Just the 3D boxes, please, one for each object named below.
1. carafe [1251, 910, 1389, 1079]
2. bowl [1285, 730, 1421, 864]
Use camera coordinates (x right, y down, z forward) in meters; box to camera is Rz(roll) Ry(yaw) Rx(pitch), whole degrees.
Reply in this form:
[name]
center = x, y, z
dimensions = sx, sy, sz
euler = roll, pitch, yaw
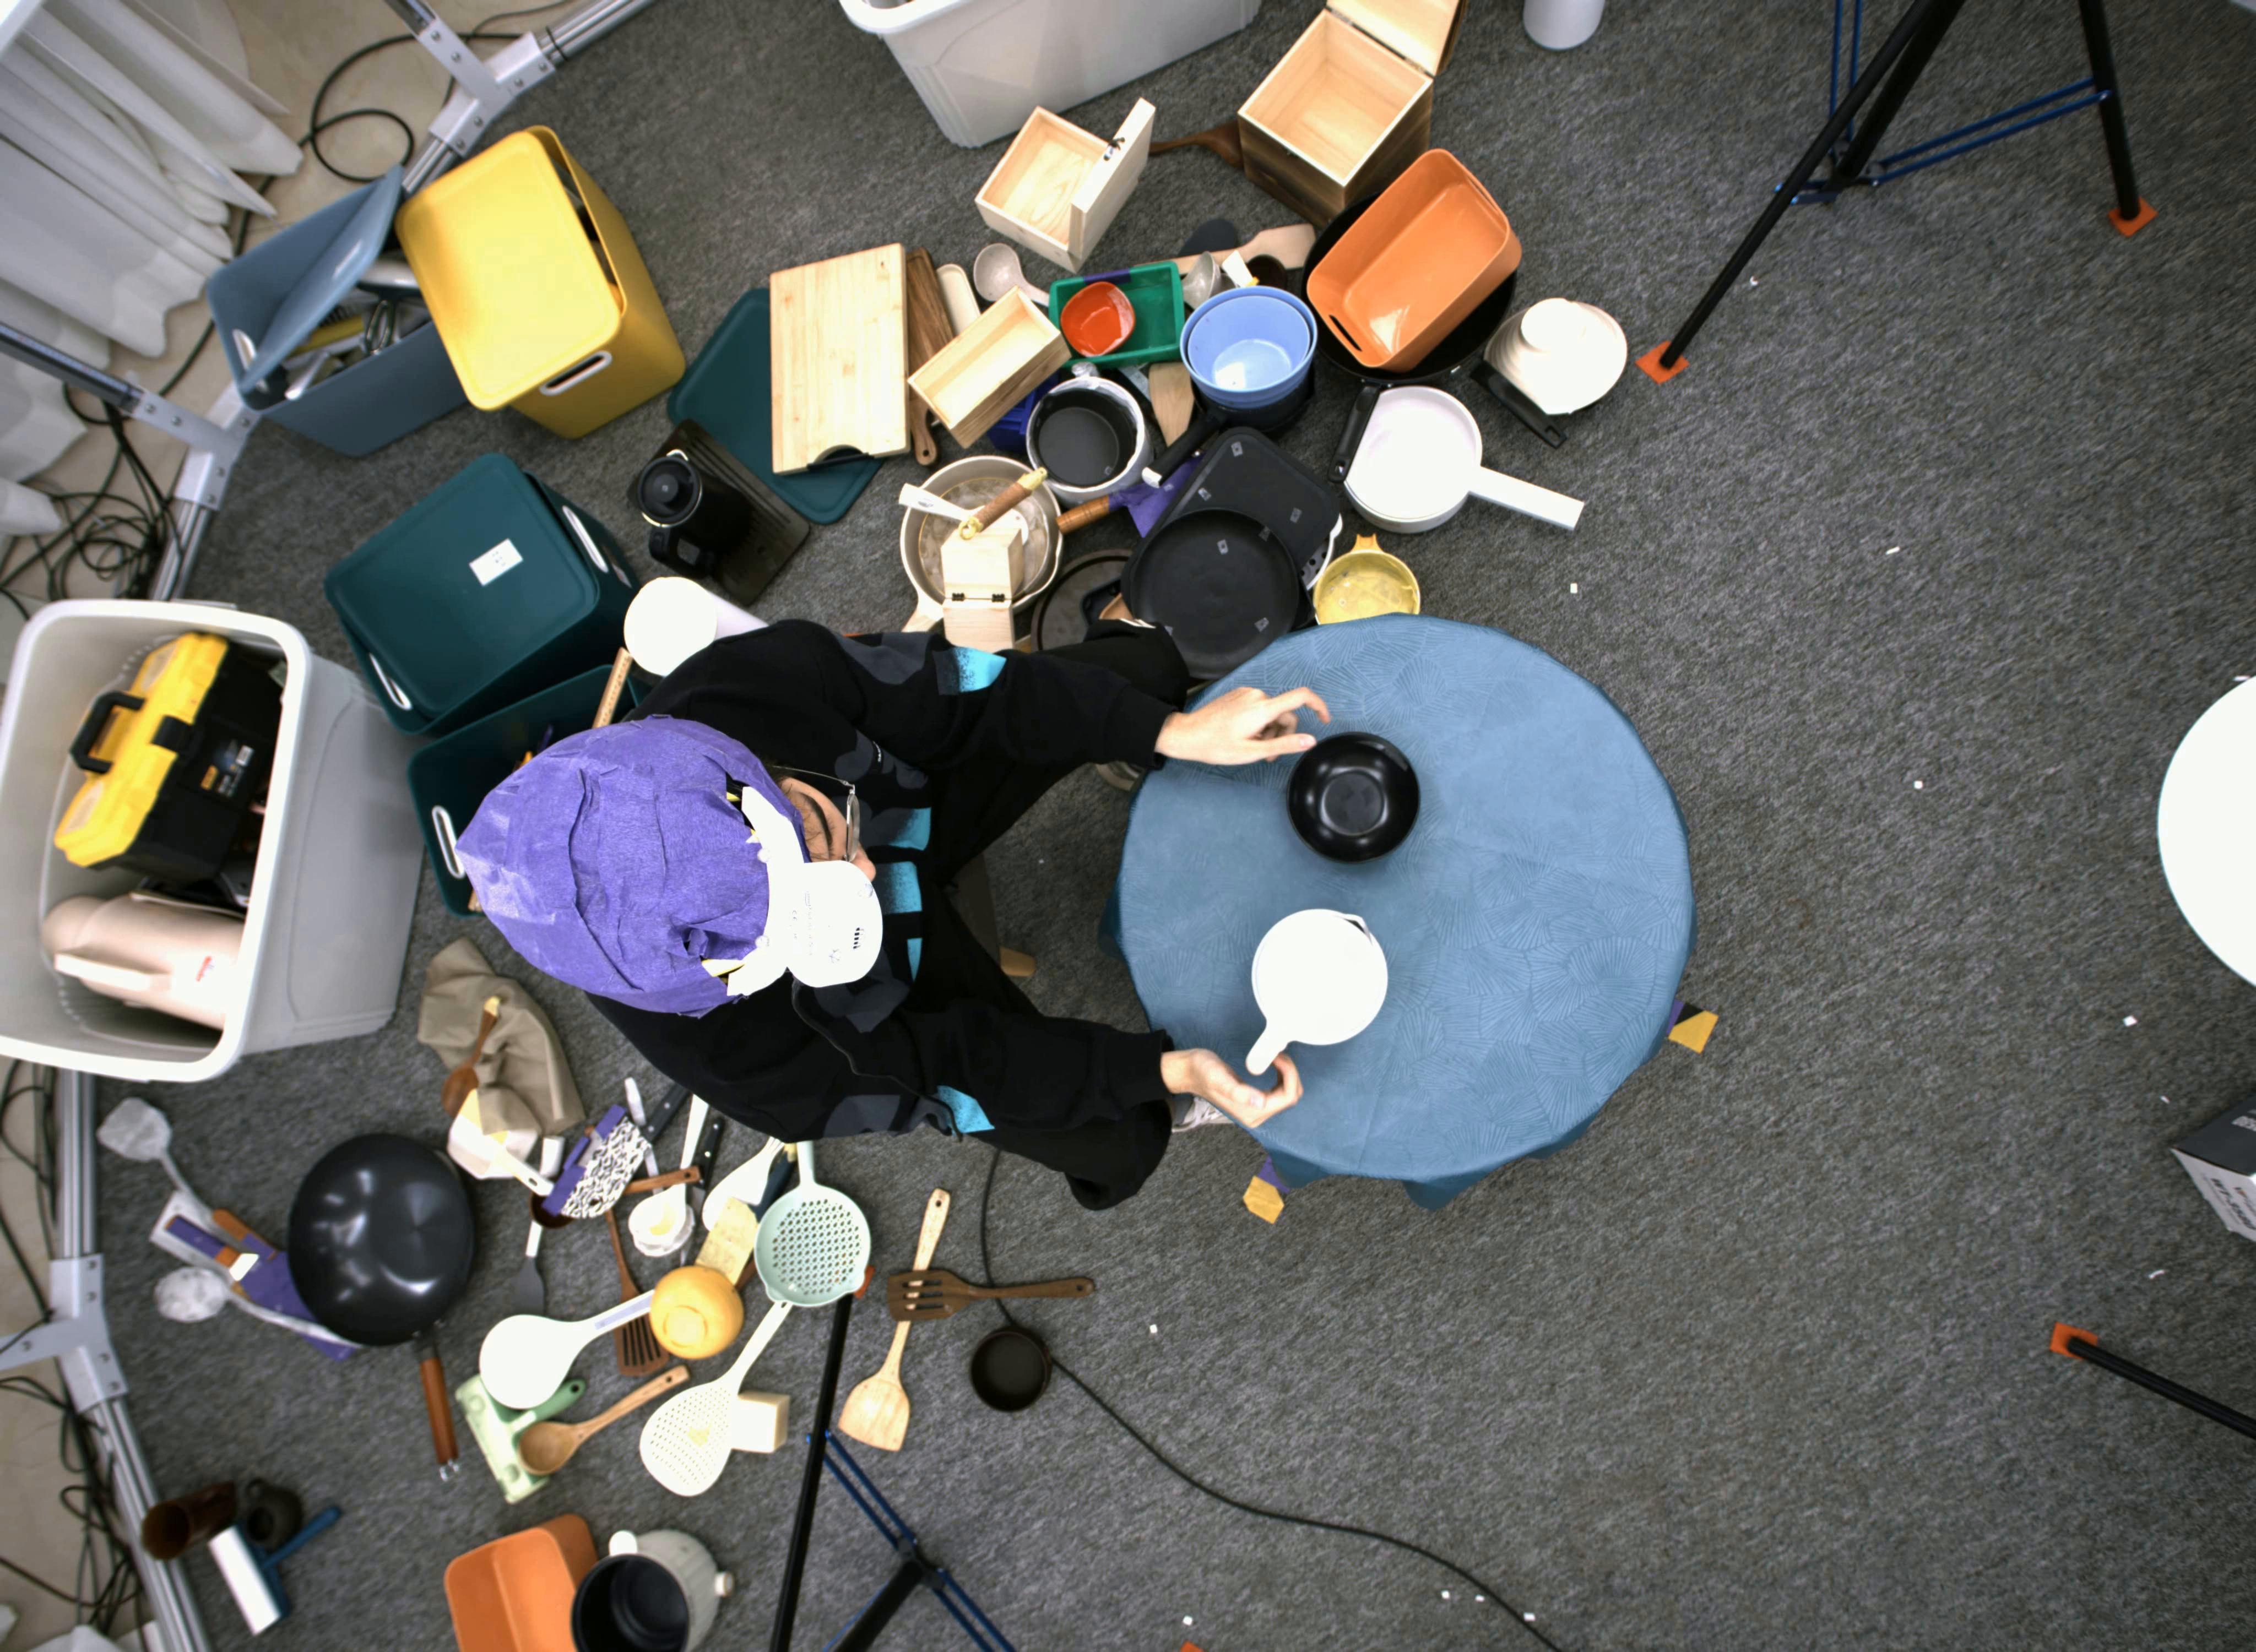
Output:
[carafe]
center = 0.179, 0.170, 1.381
dimensions = 0.132, 0.182, 0.192
euler = 35, 94, 12
[bowl]
center = 0.236, -0.029, 1.442
dimensions = 0.140, 0.050, 0.139
euler = -1, 88, 12
